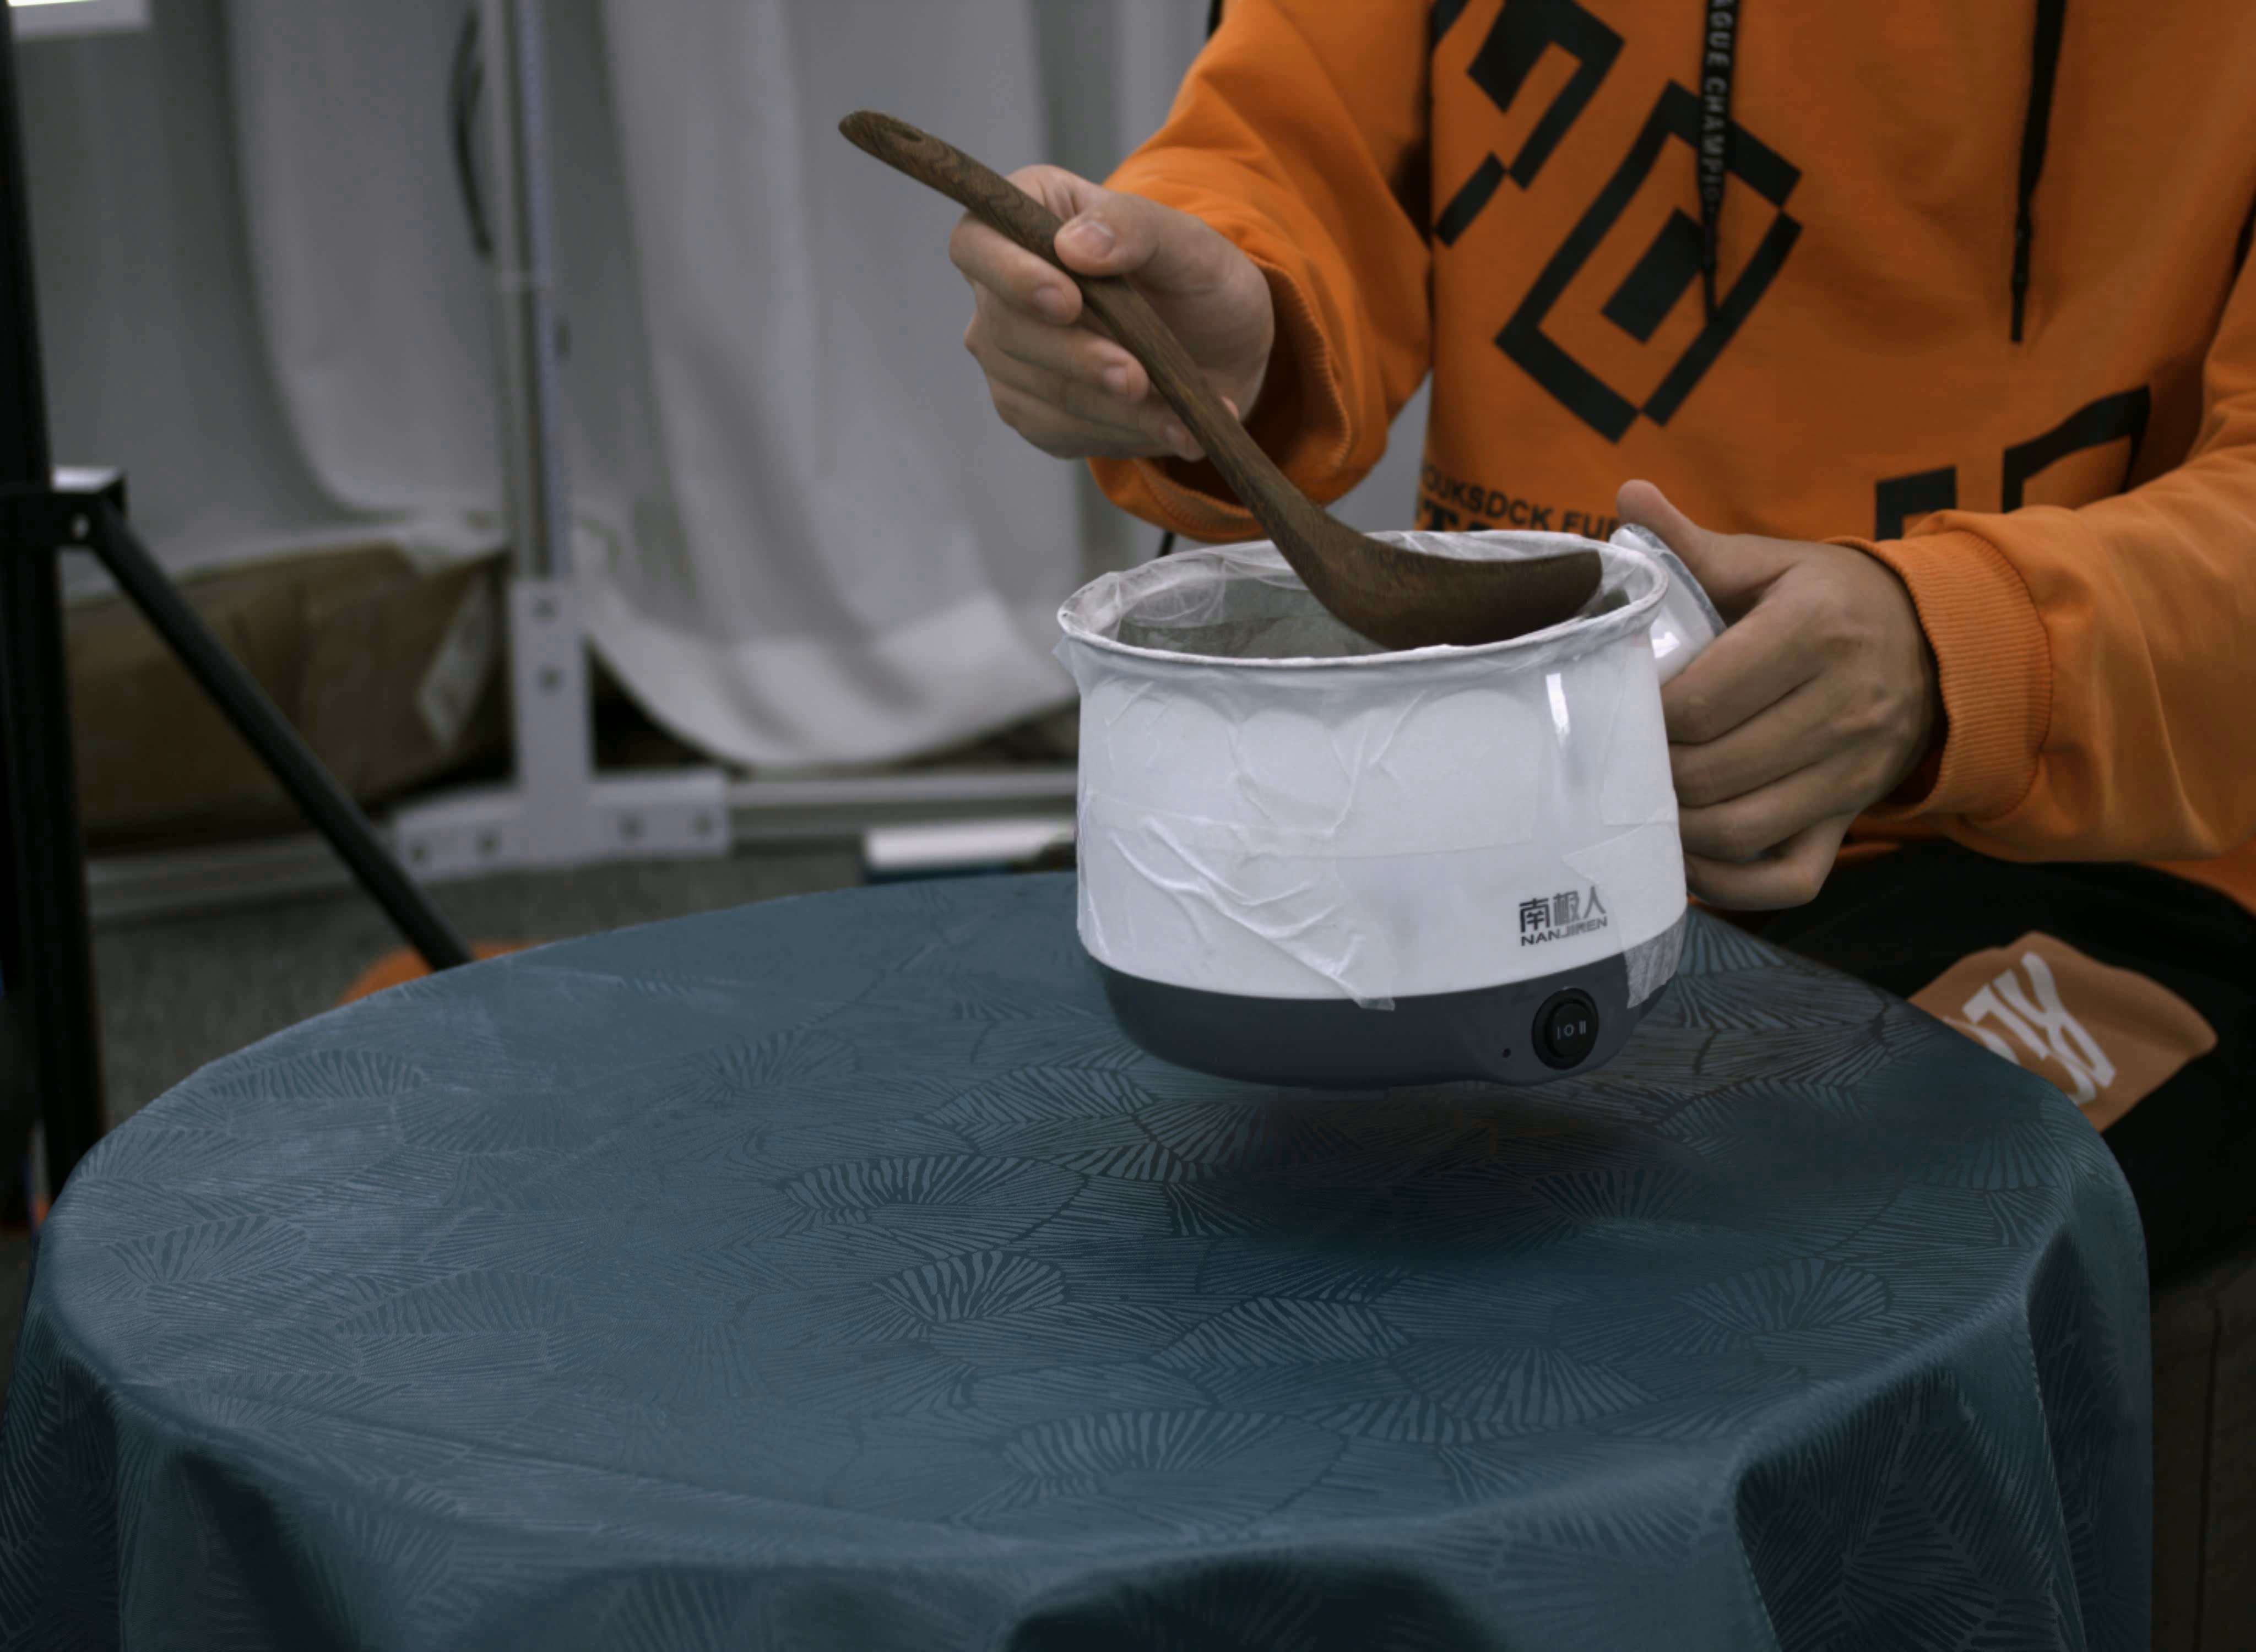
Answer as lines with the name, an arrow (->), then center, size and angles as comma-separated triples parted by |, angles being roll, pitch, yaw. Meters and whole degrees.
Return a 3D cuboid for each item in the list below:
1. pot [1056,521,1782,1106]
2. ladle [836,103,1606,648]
pot -> 0.093, -0.010, 1.553 | 0.228, 0.136, 0.183 | -13, 17, -32
ladle -> 0.027, -0.146, 1.567 | 0.277, 0.072, 0.074 | 46, 24, 17
